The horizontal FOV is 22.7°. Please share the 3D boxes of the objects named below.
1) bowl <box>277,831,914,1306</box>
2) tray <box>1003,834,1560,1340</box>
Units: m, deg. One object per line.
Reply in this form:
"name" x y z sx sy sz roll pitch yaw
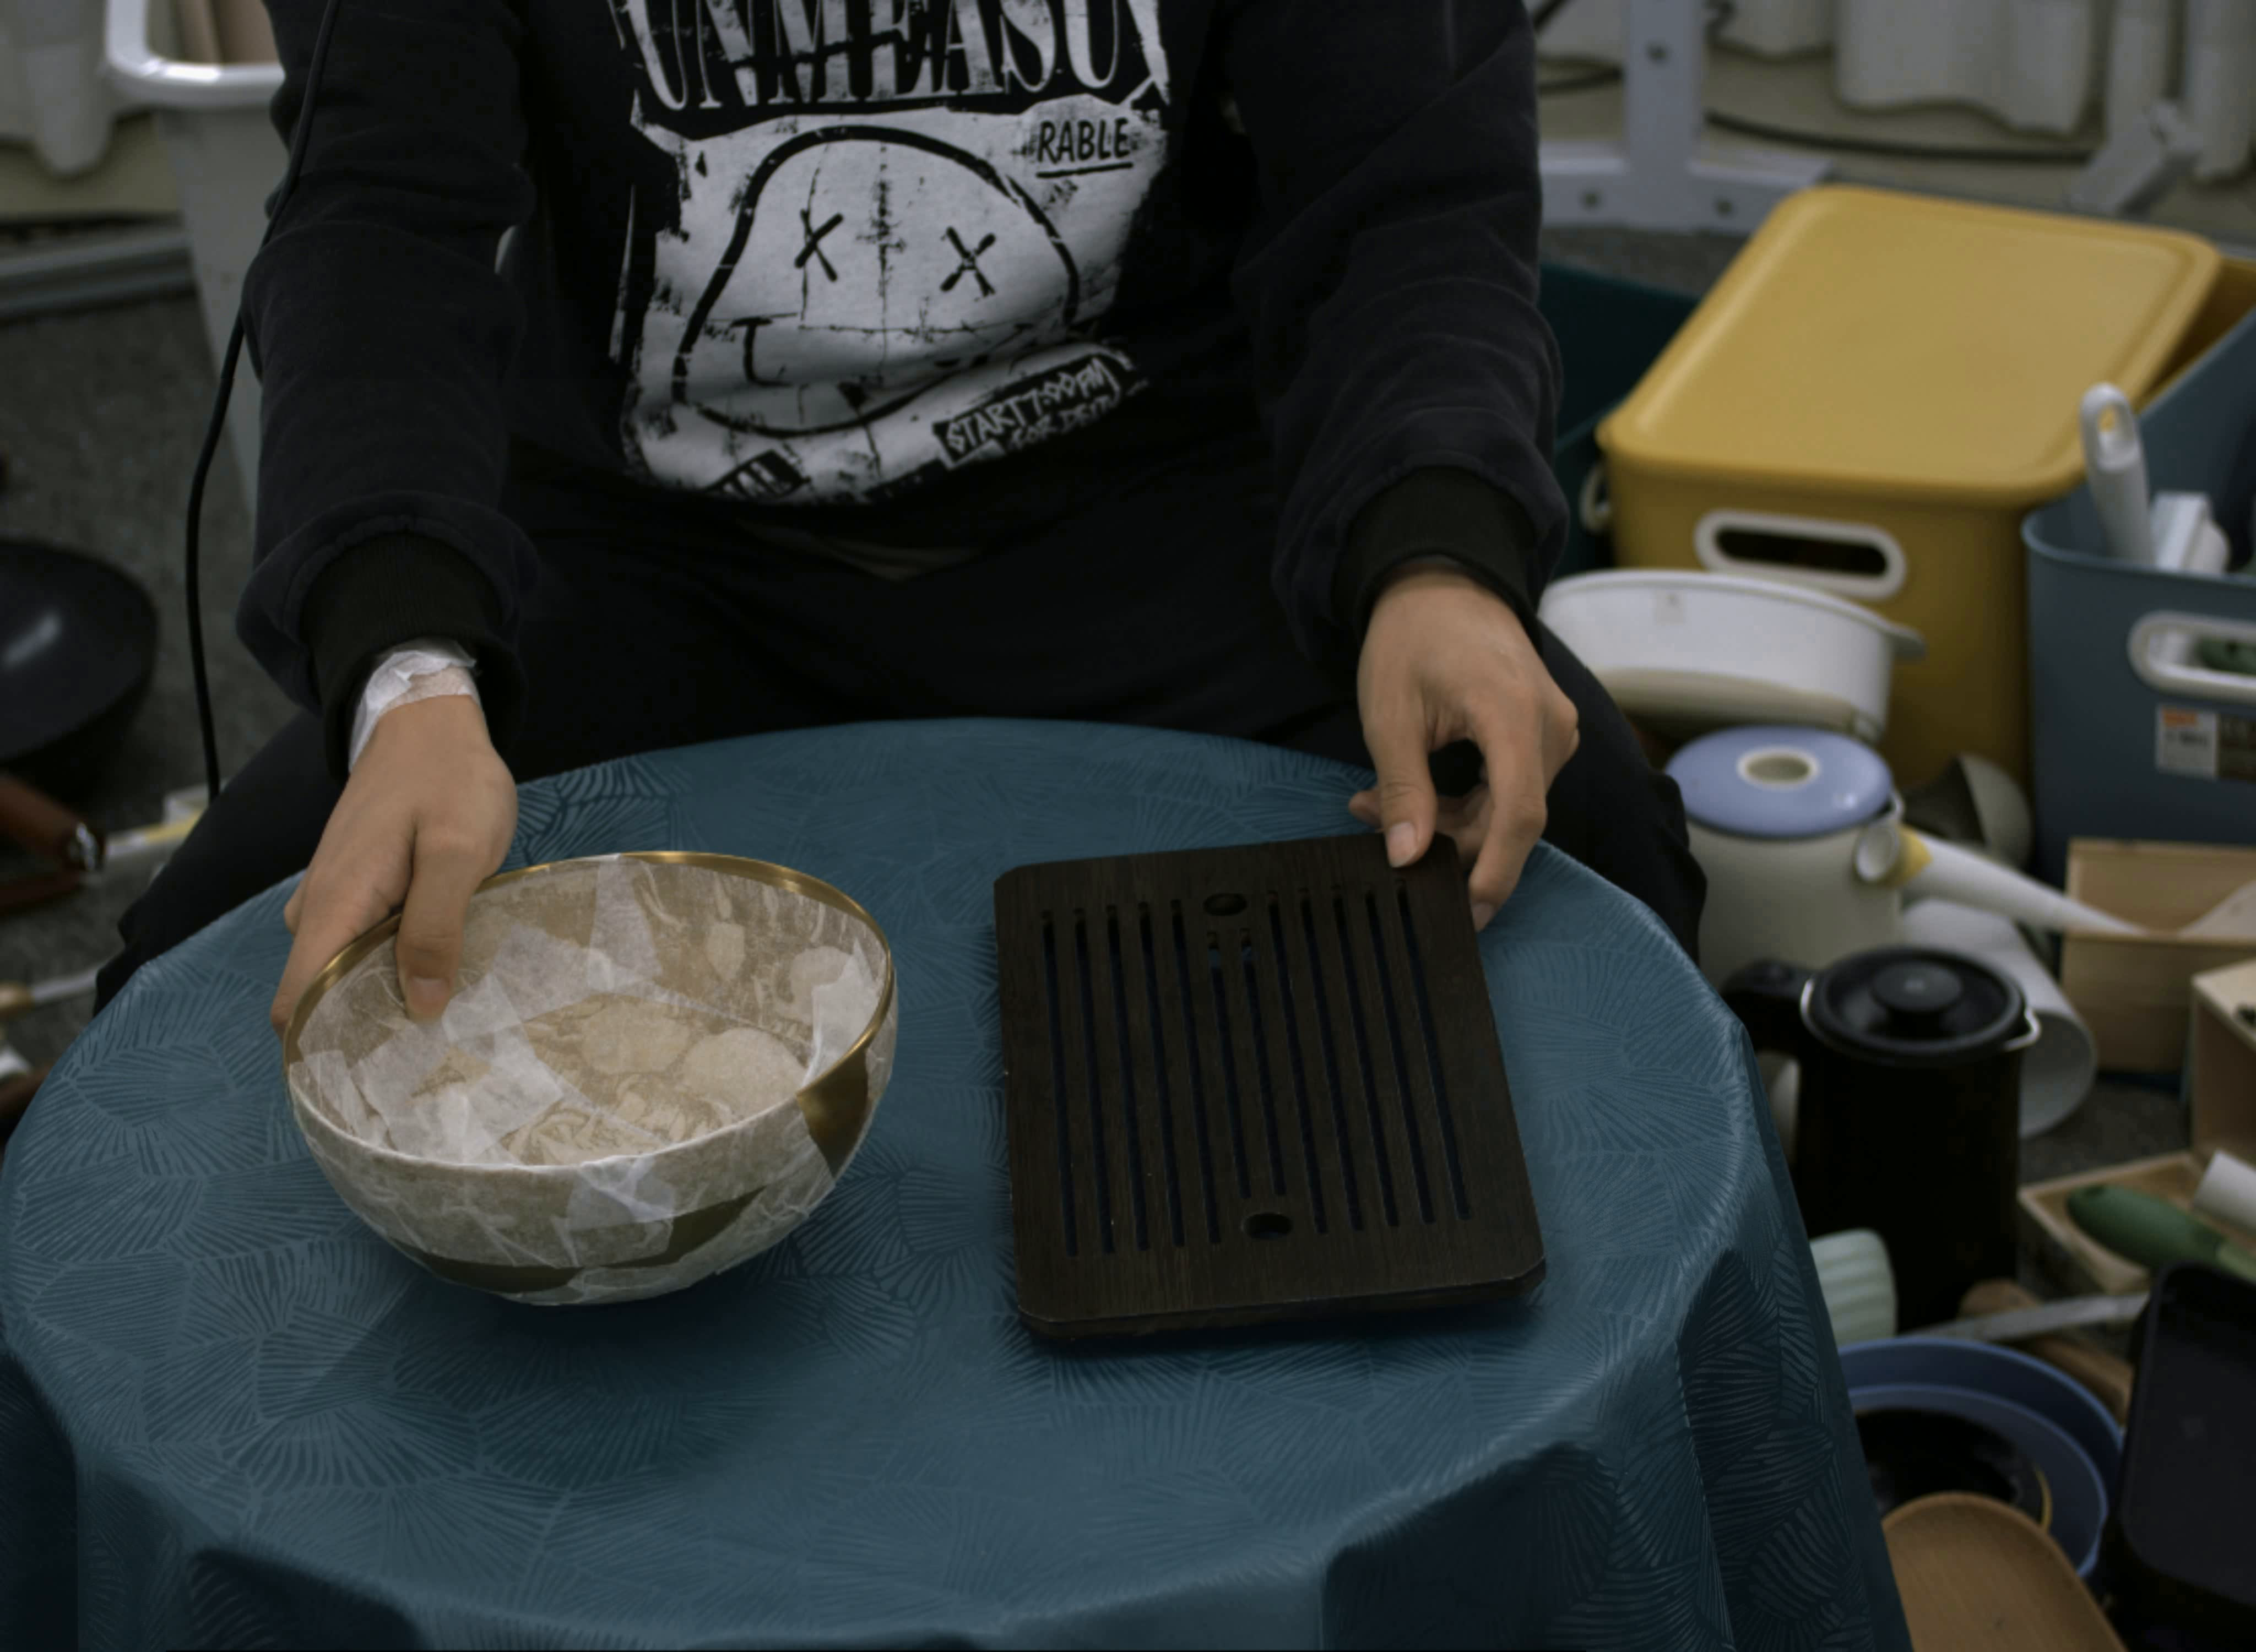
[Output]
"bowl" -0.166 0.093 1.831 0.213 0.093 0.218 -5 28 3
"tray" 0.046 0.086 1.903 0.169 0.018 0.310 -5 27 -1
